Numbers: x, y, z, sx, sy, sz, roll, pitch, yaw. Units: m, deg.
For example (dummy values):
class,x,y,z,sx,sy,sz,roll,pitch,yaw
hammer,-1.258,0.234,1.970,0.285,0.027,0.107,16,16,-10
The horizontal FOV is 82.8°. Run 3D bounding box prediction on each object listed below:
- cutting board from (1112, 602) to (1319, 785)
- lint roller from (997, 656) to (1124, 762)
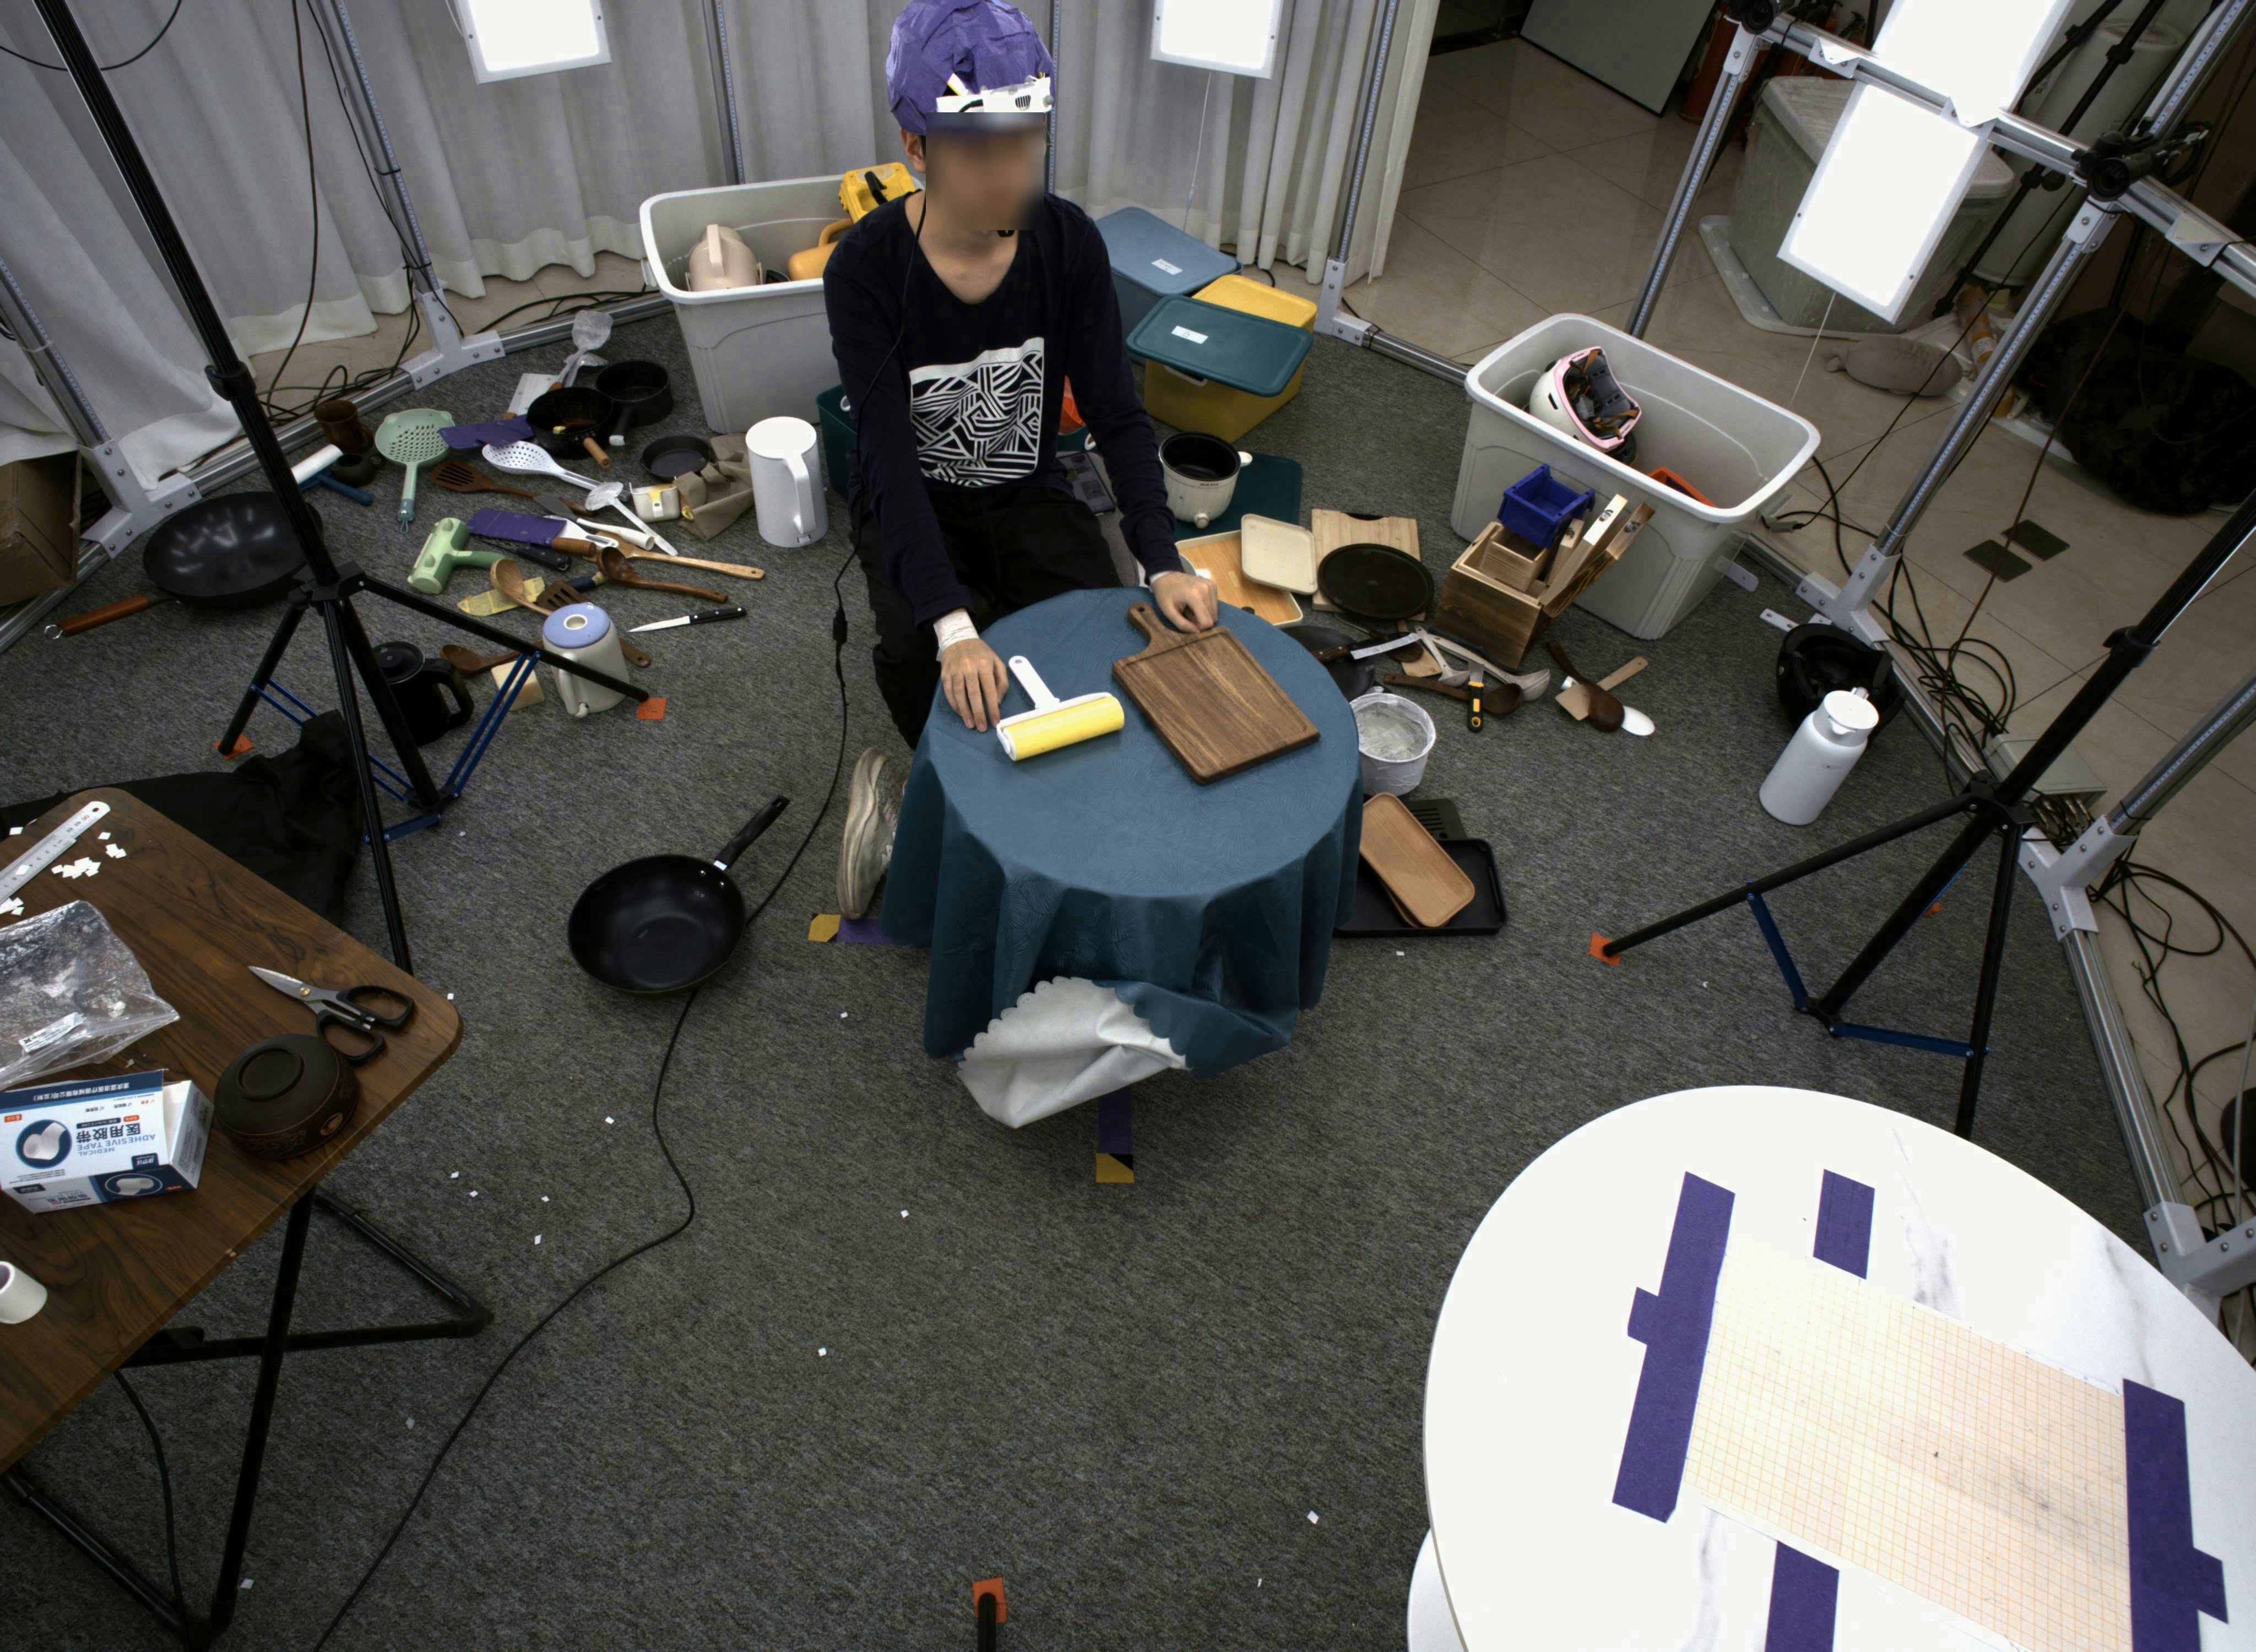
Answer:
class,x,y,z,sx,sy,sz,roll,pitch,yaw
cutting board,0.096,-0.211,1.843,0.201,0.022,0.360,-21,53,-21
lint roller,-0.120,-0.183,1.786,0.174,0.050,0.196,-19,56,-20
